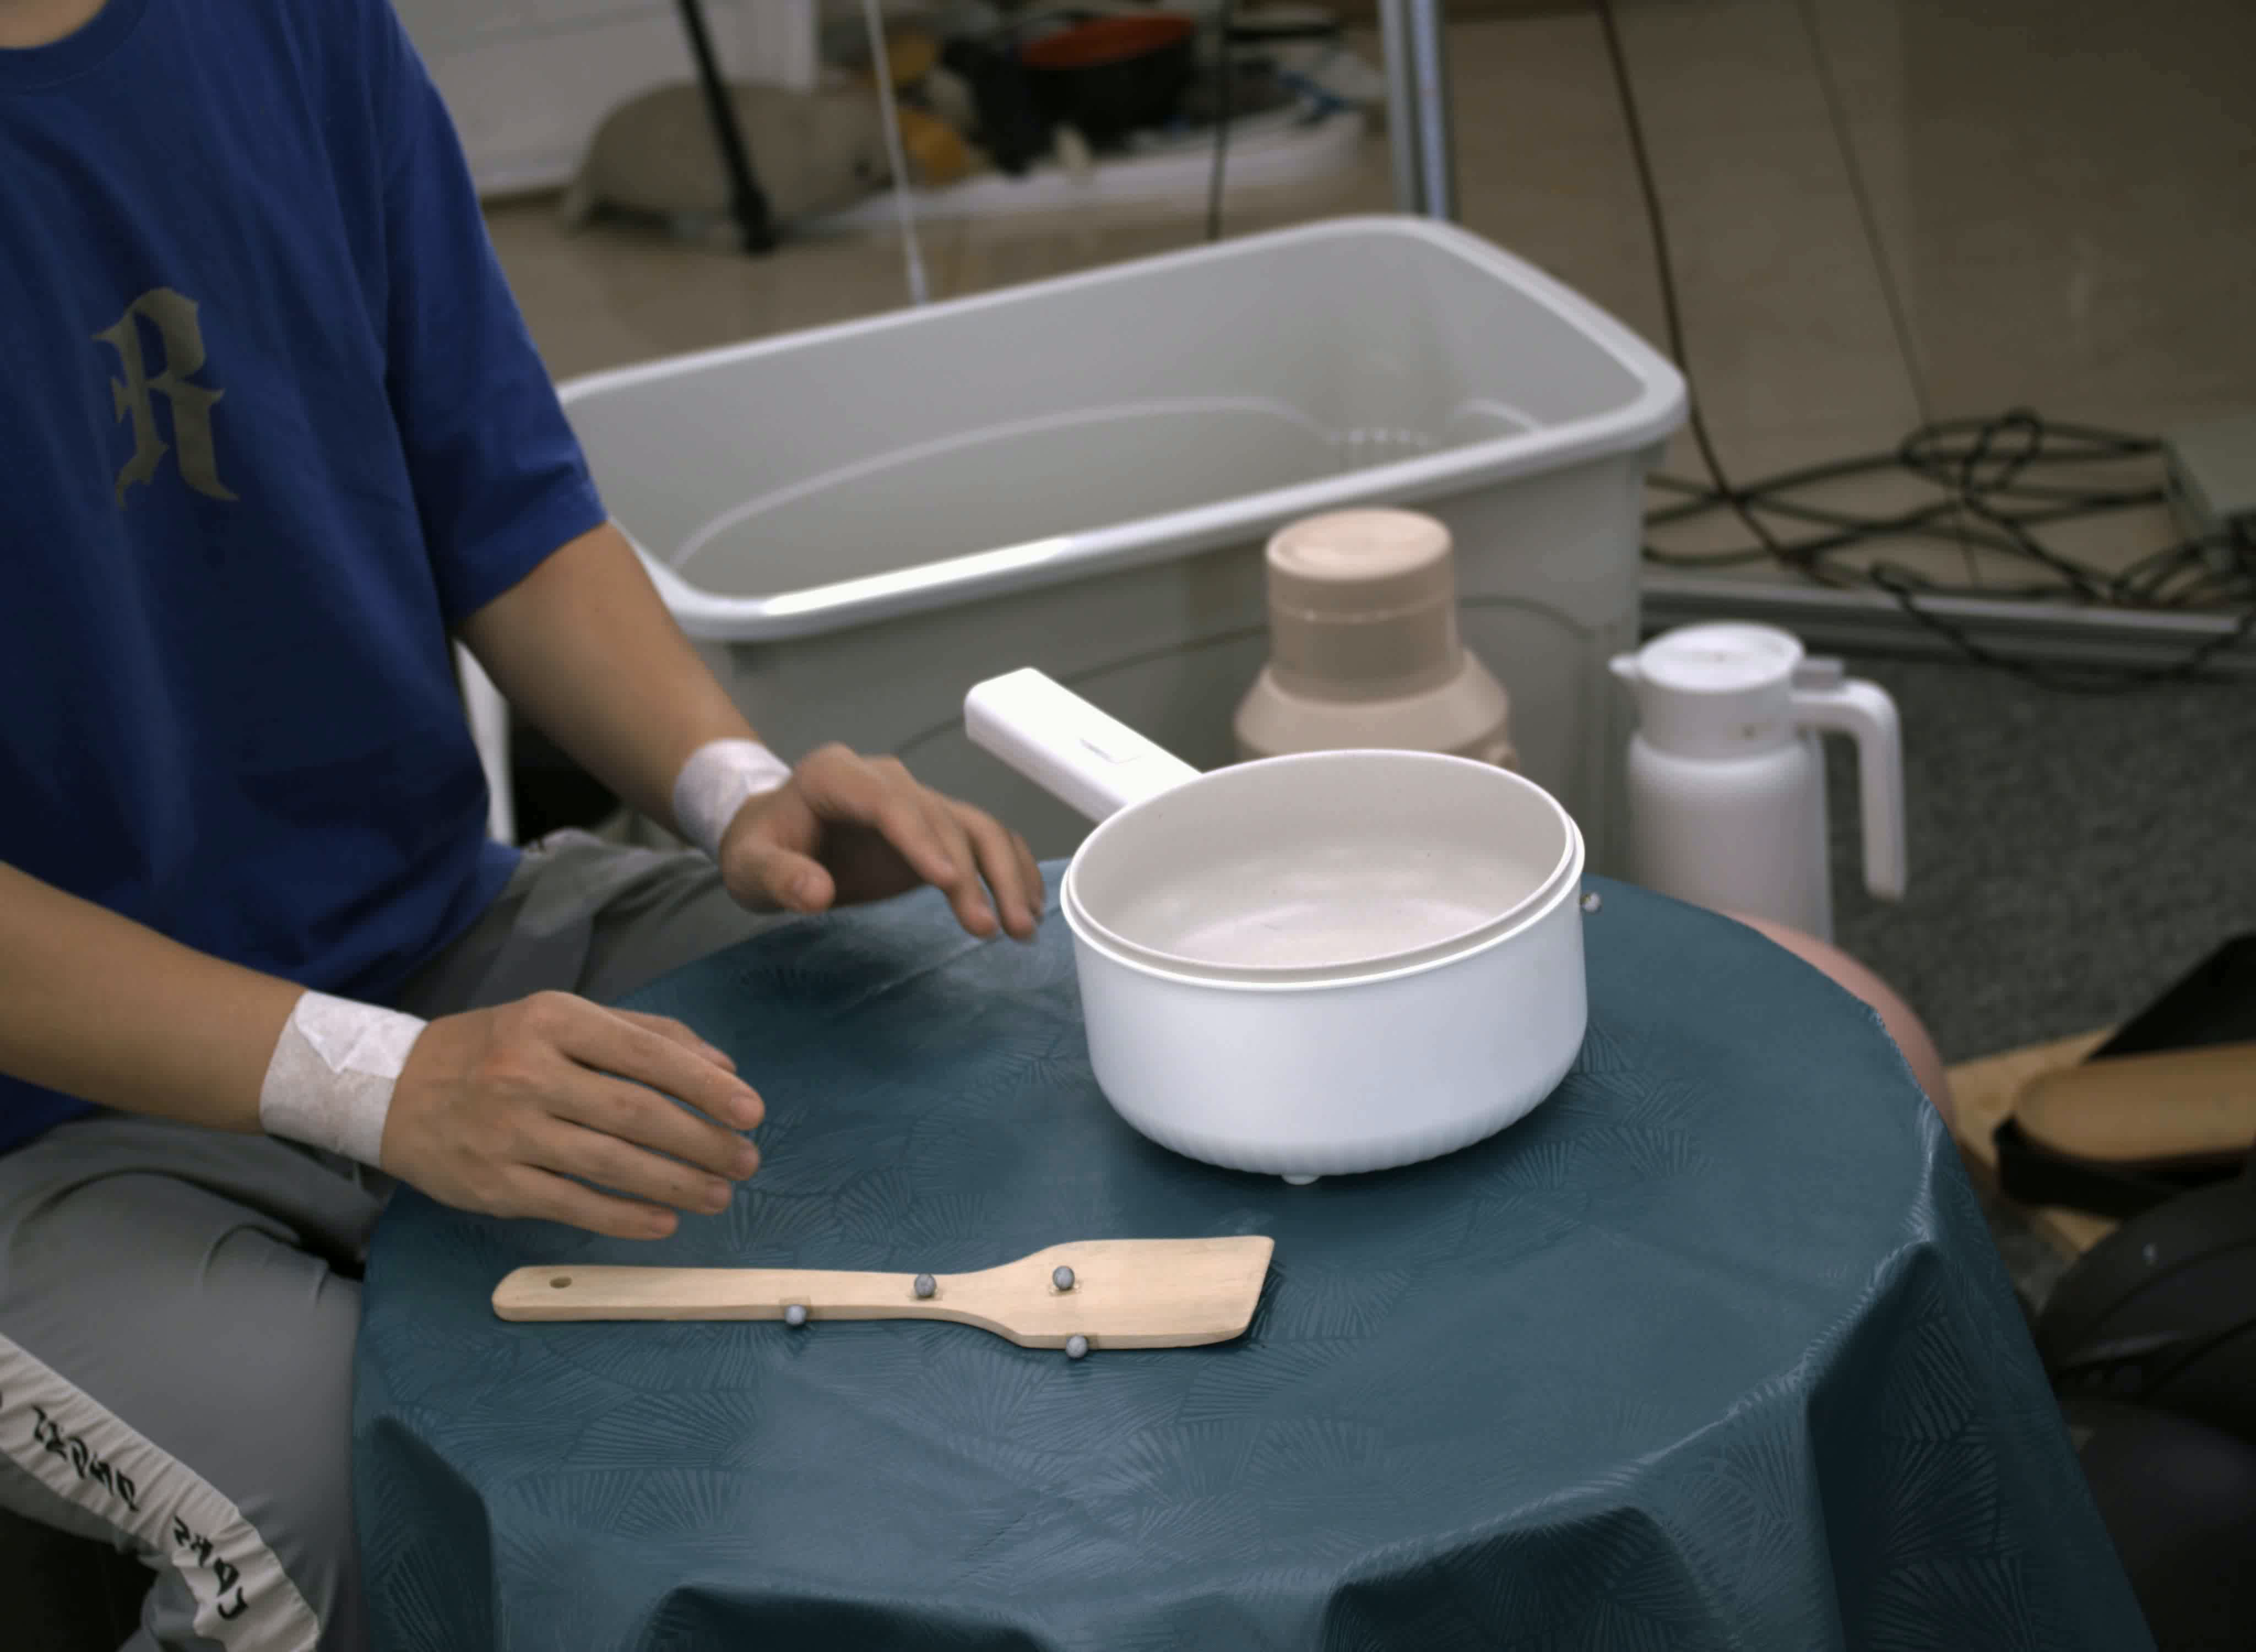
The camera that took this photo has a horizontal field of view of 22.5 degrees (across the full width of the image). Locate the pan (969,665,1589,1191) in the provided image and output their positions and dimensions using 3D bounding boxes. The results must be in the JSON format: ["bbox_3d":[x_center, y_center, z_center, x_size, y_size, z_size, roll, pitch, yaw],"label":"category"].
[{"bbox_3d":[0.040,0.034,2.247,0.200,0.104,0.351,-21,29,-24],"label":"pan"}]

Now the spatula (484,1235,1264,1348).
[{"bbox_3d":[-0.097,0.171,2.090,0.292,0.011,0.071,-1,26,12],"label":"spatula"}]
